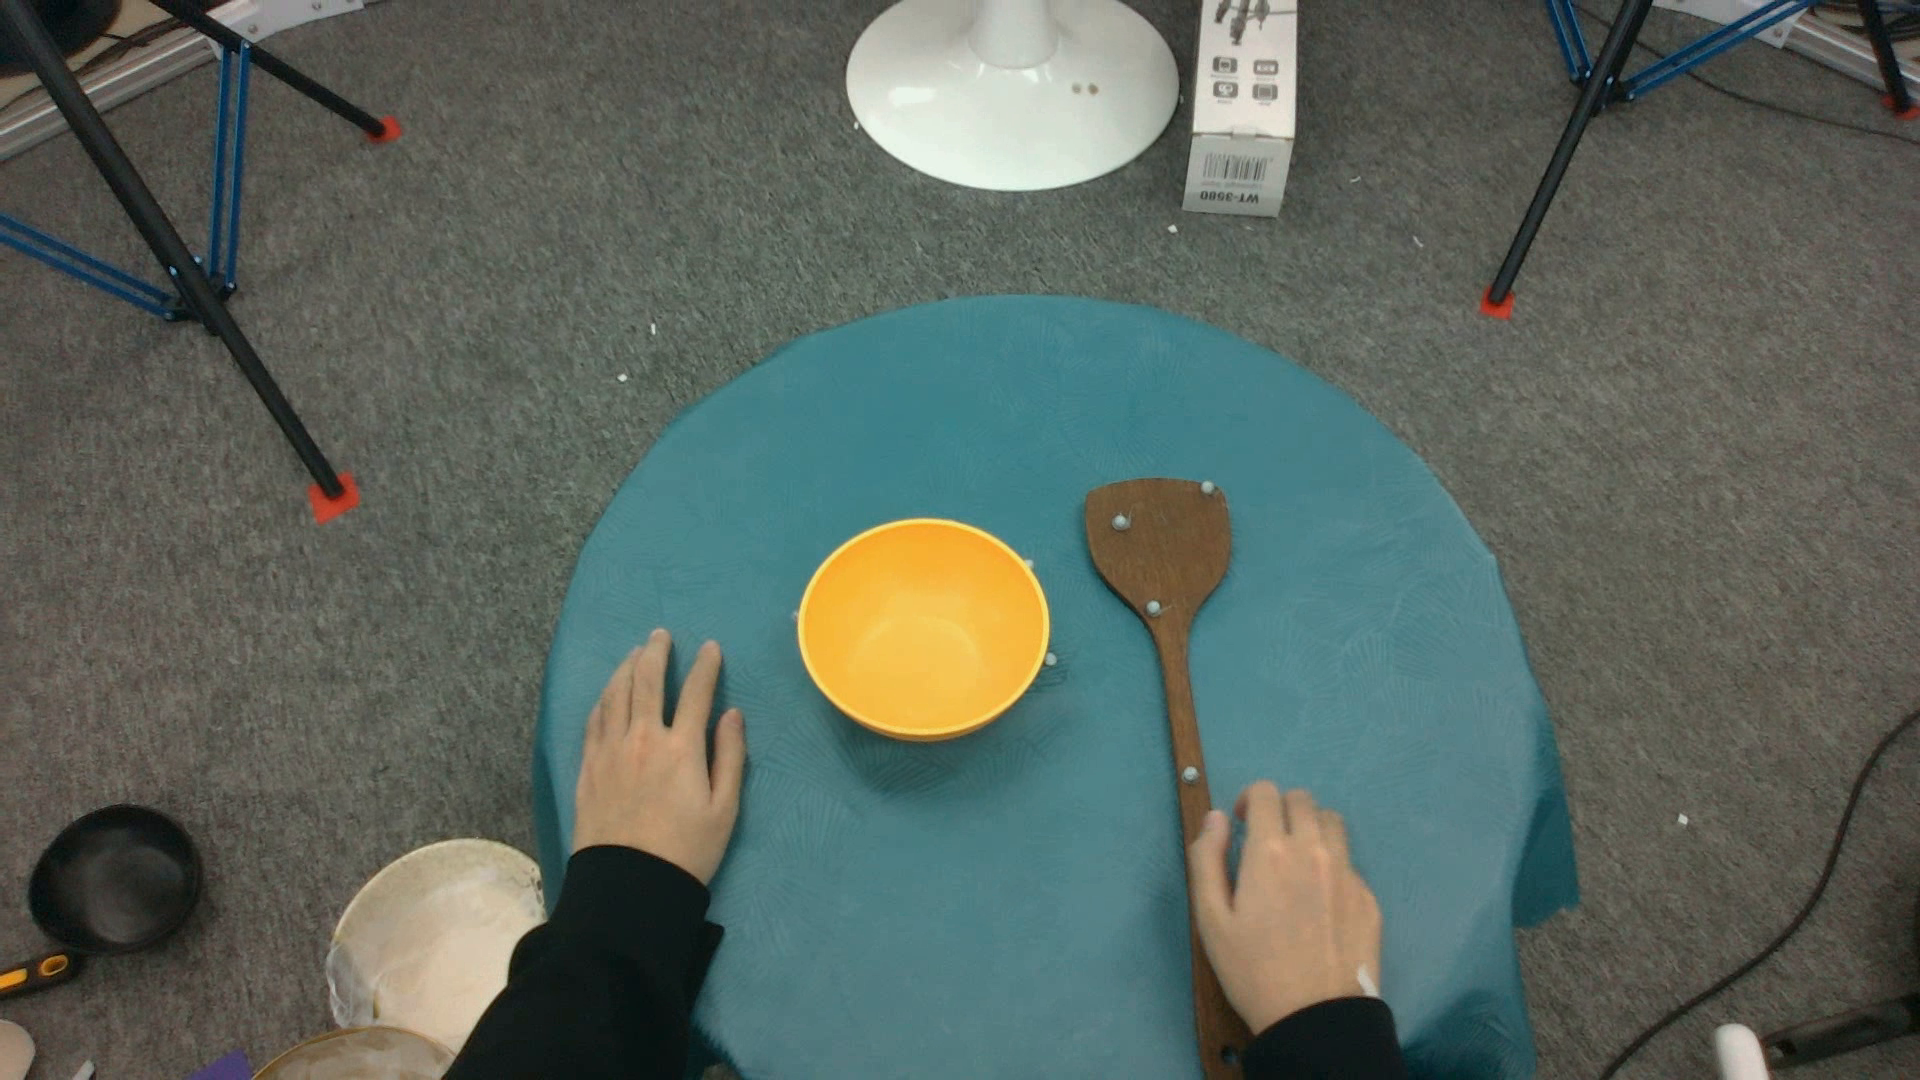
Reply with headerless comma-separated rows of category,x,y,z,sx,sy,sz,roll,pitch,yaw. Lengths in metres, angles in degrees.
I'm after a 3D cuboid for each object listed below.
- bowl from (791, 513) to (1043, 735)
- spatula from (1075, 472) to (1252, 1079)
bowl,-0.024,0.059,0.812,0.145,0.060,0.146,-1,56,2
spatula,0.128,0.116,0.800,0.096,0.016,0.387,-1,55,-2
